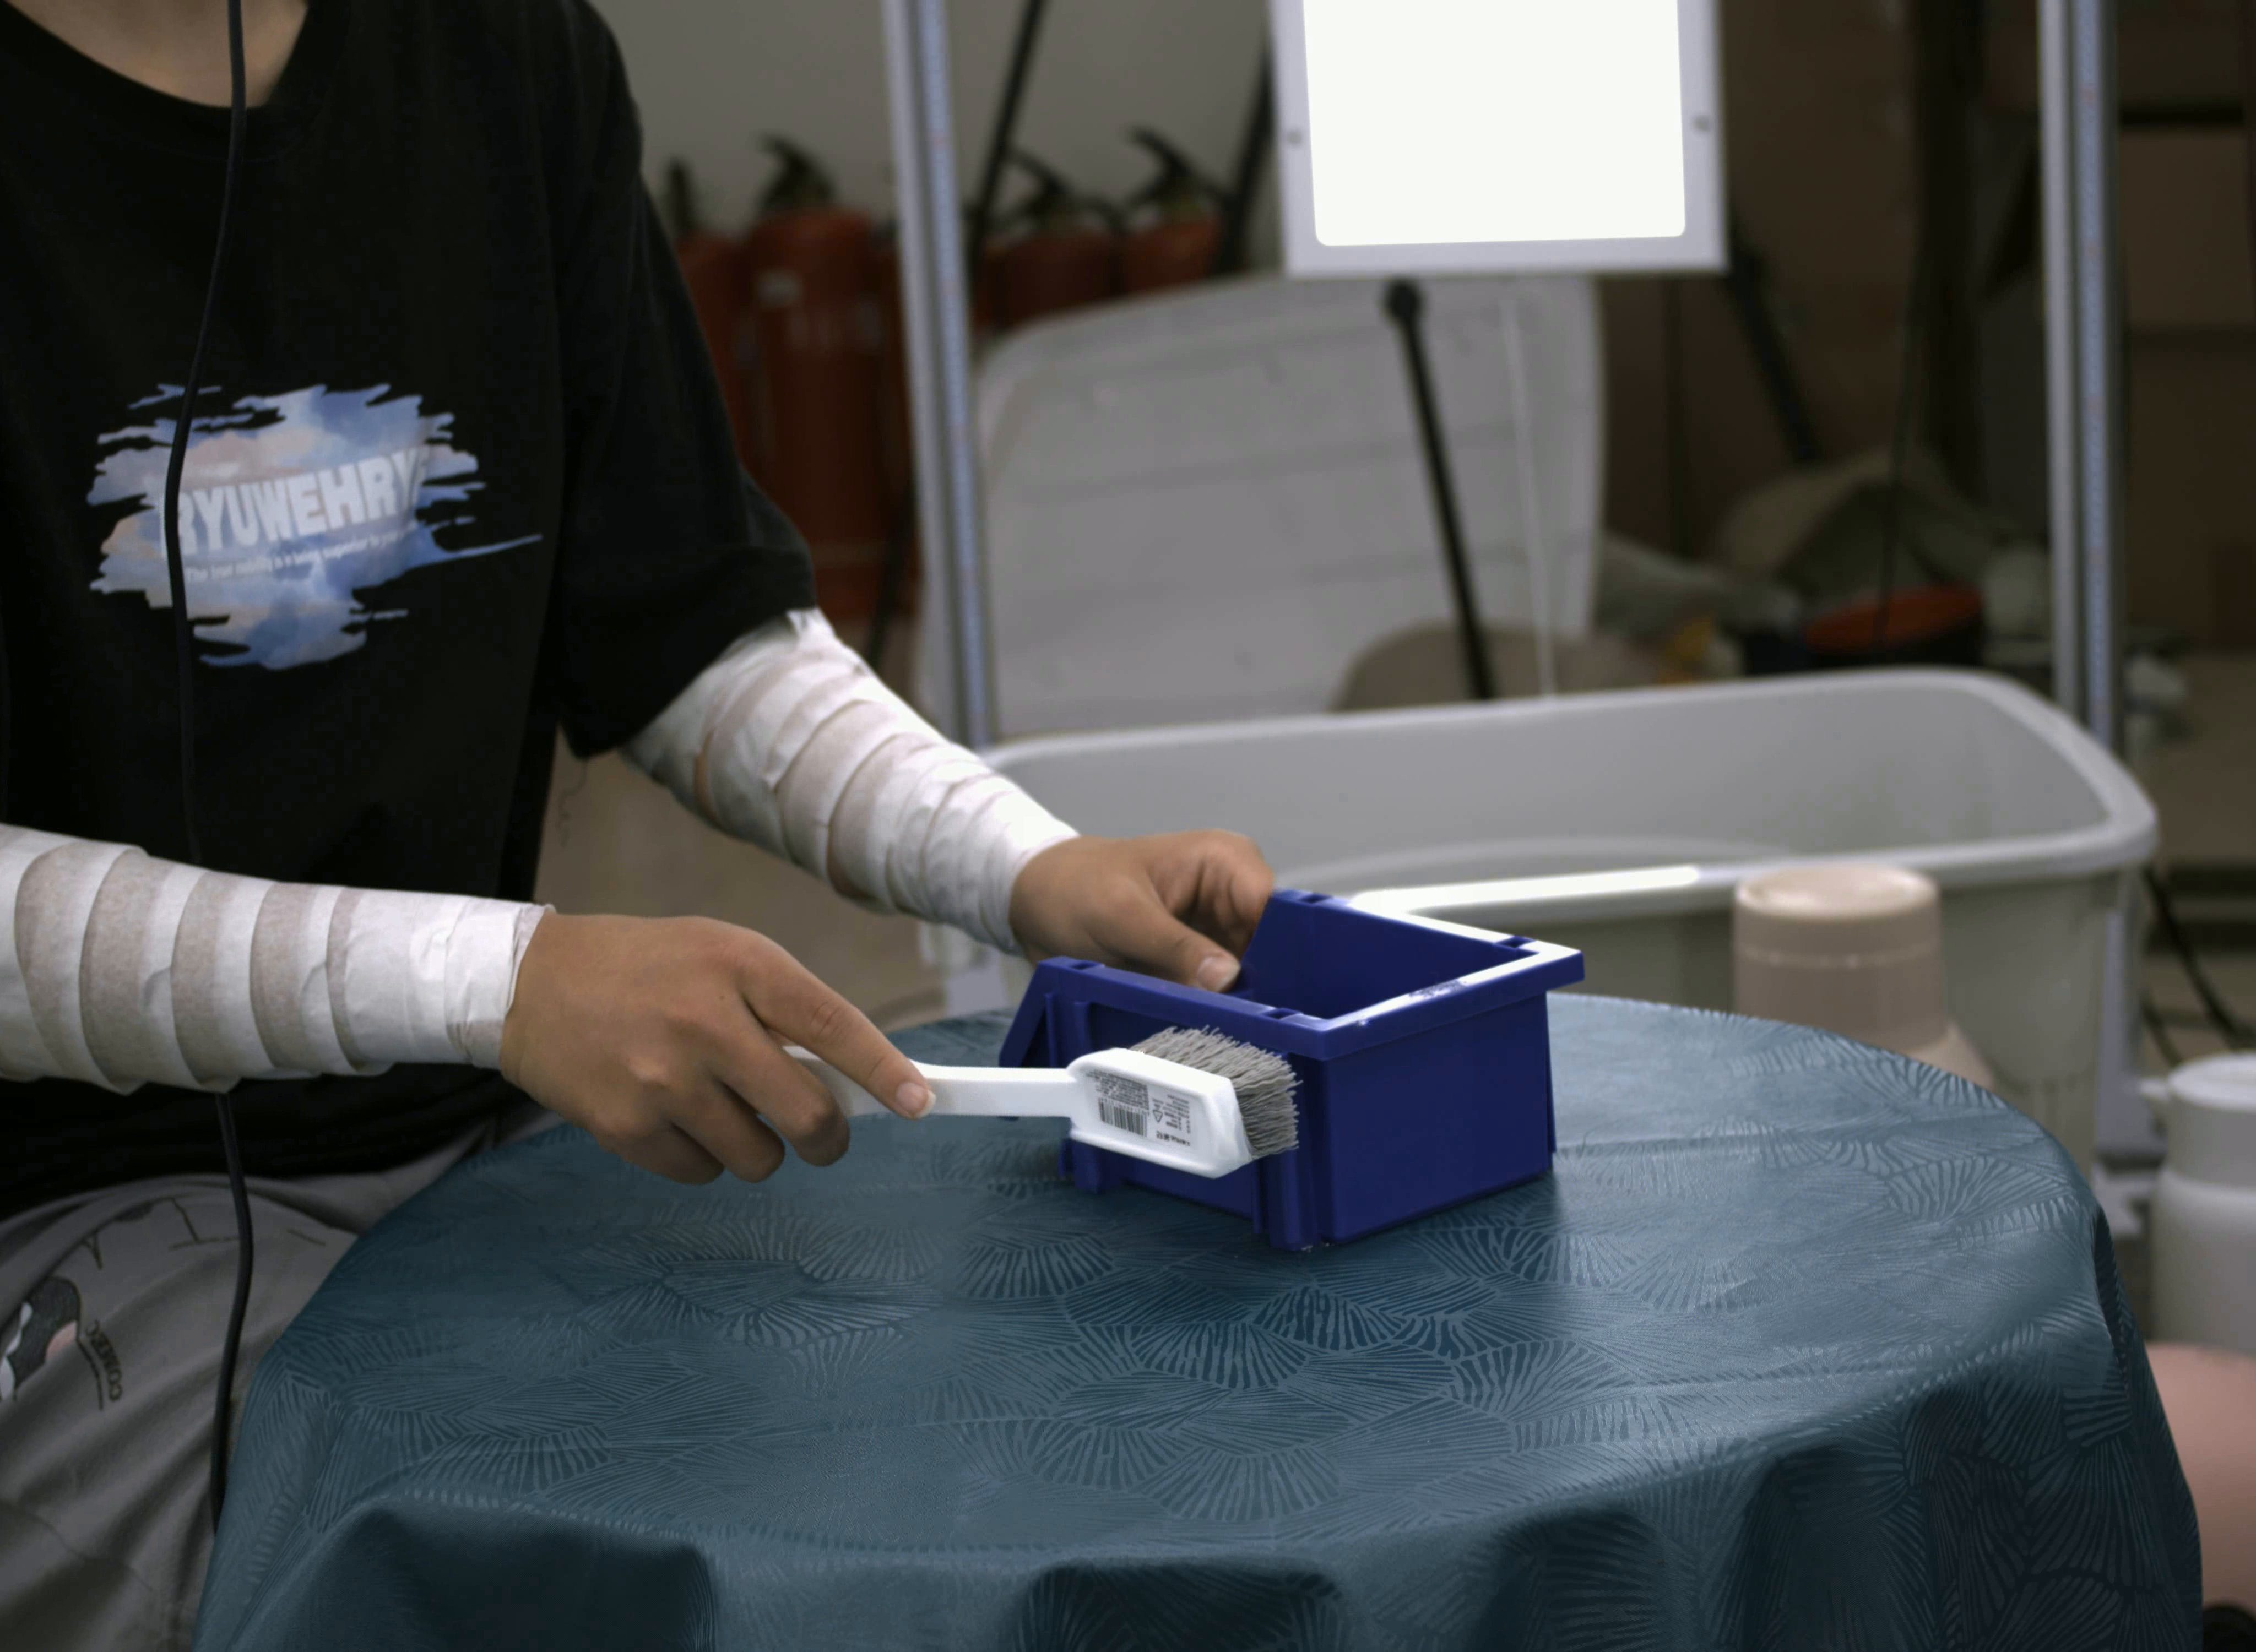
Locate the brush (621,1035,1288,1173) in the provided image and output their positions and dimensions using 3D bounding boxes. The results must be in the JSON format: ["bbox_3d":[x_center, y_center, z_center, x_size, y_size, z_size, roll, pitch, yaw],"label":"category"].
[{"bbox_3d":[-0.057,0.085,1.833,0.248,0.034,0.049,4,15,31],"label":"brush"}]

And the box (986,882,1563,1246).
[{"bbox_3d":[0.047,0.079,1.903,0.121,0.082,0.183,-15,18,-34],"label":"box"}]
